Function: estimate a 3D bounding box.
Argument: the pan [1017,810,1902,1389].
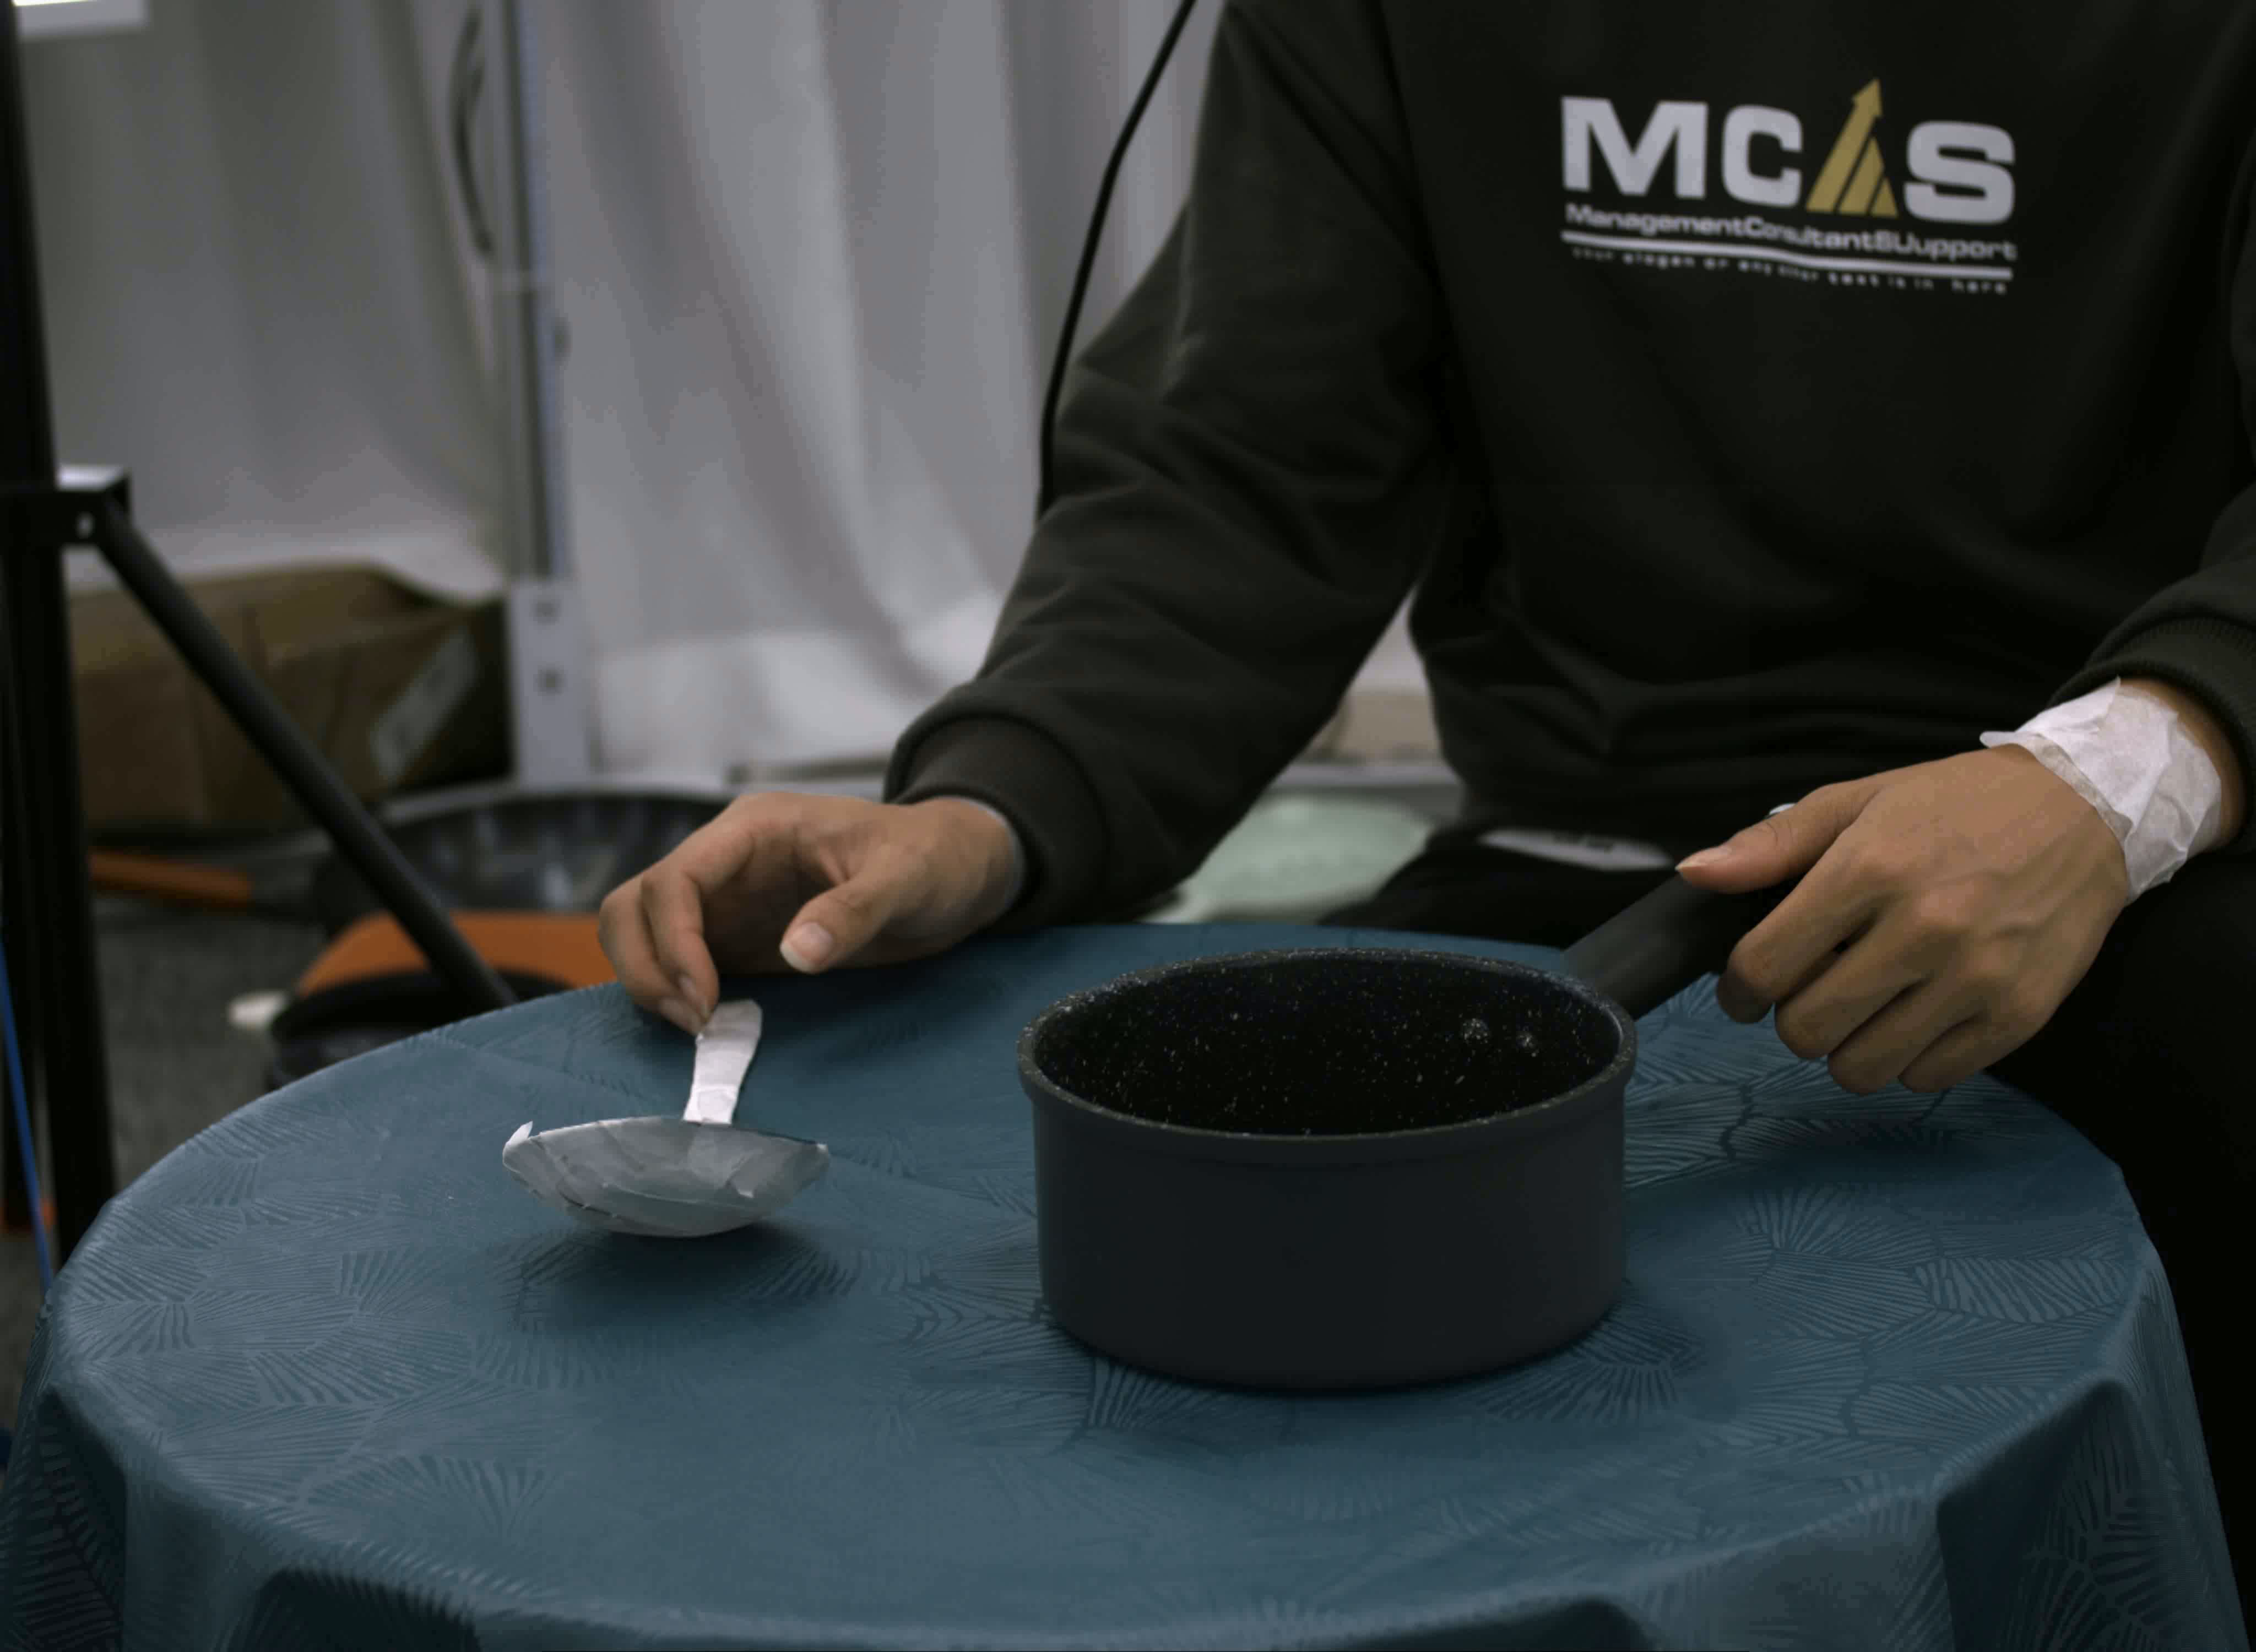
[{"bbox_3d":[0.110,0.074,1.514,0.321,0.086,0.176,-18,23,-42],"label":"pan"}]

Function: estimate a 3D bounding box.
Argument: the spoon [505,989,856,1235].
[{"bbox_3d":[-0.121,0.069,1.614,0.100,0.059,0.277,1,16,4],"label":"spoon"}]
